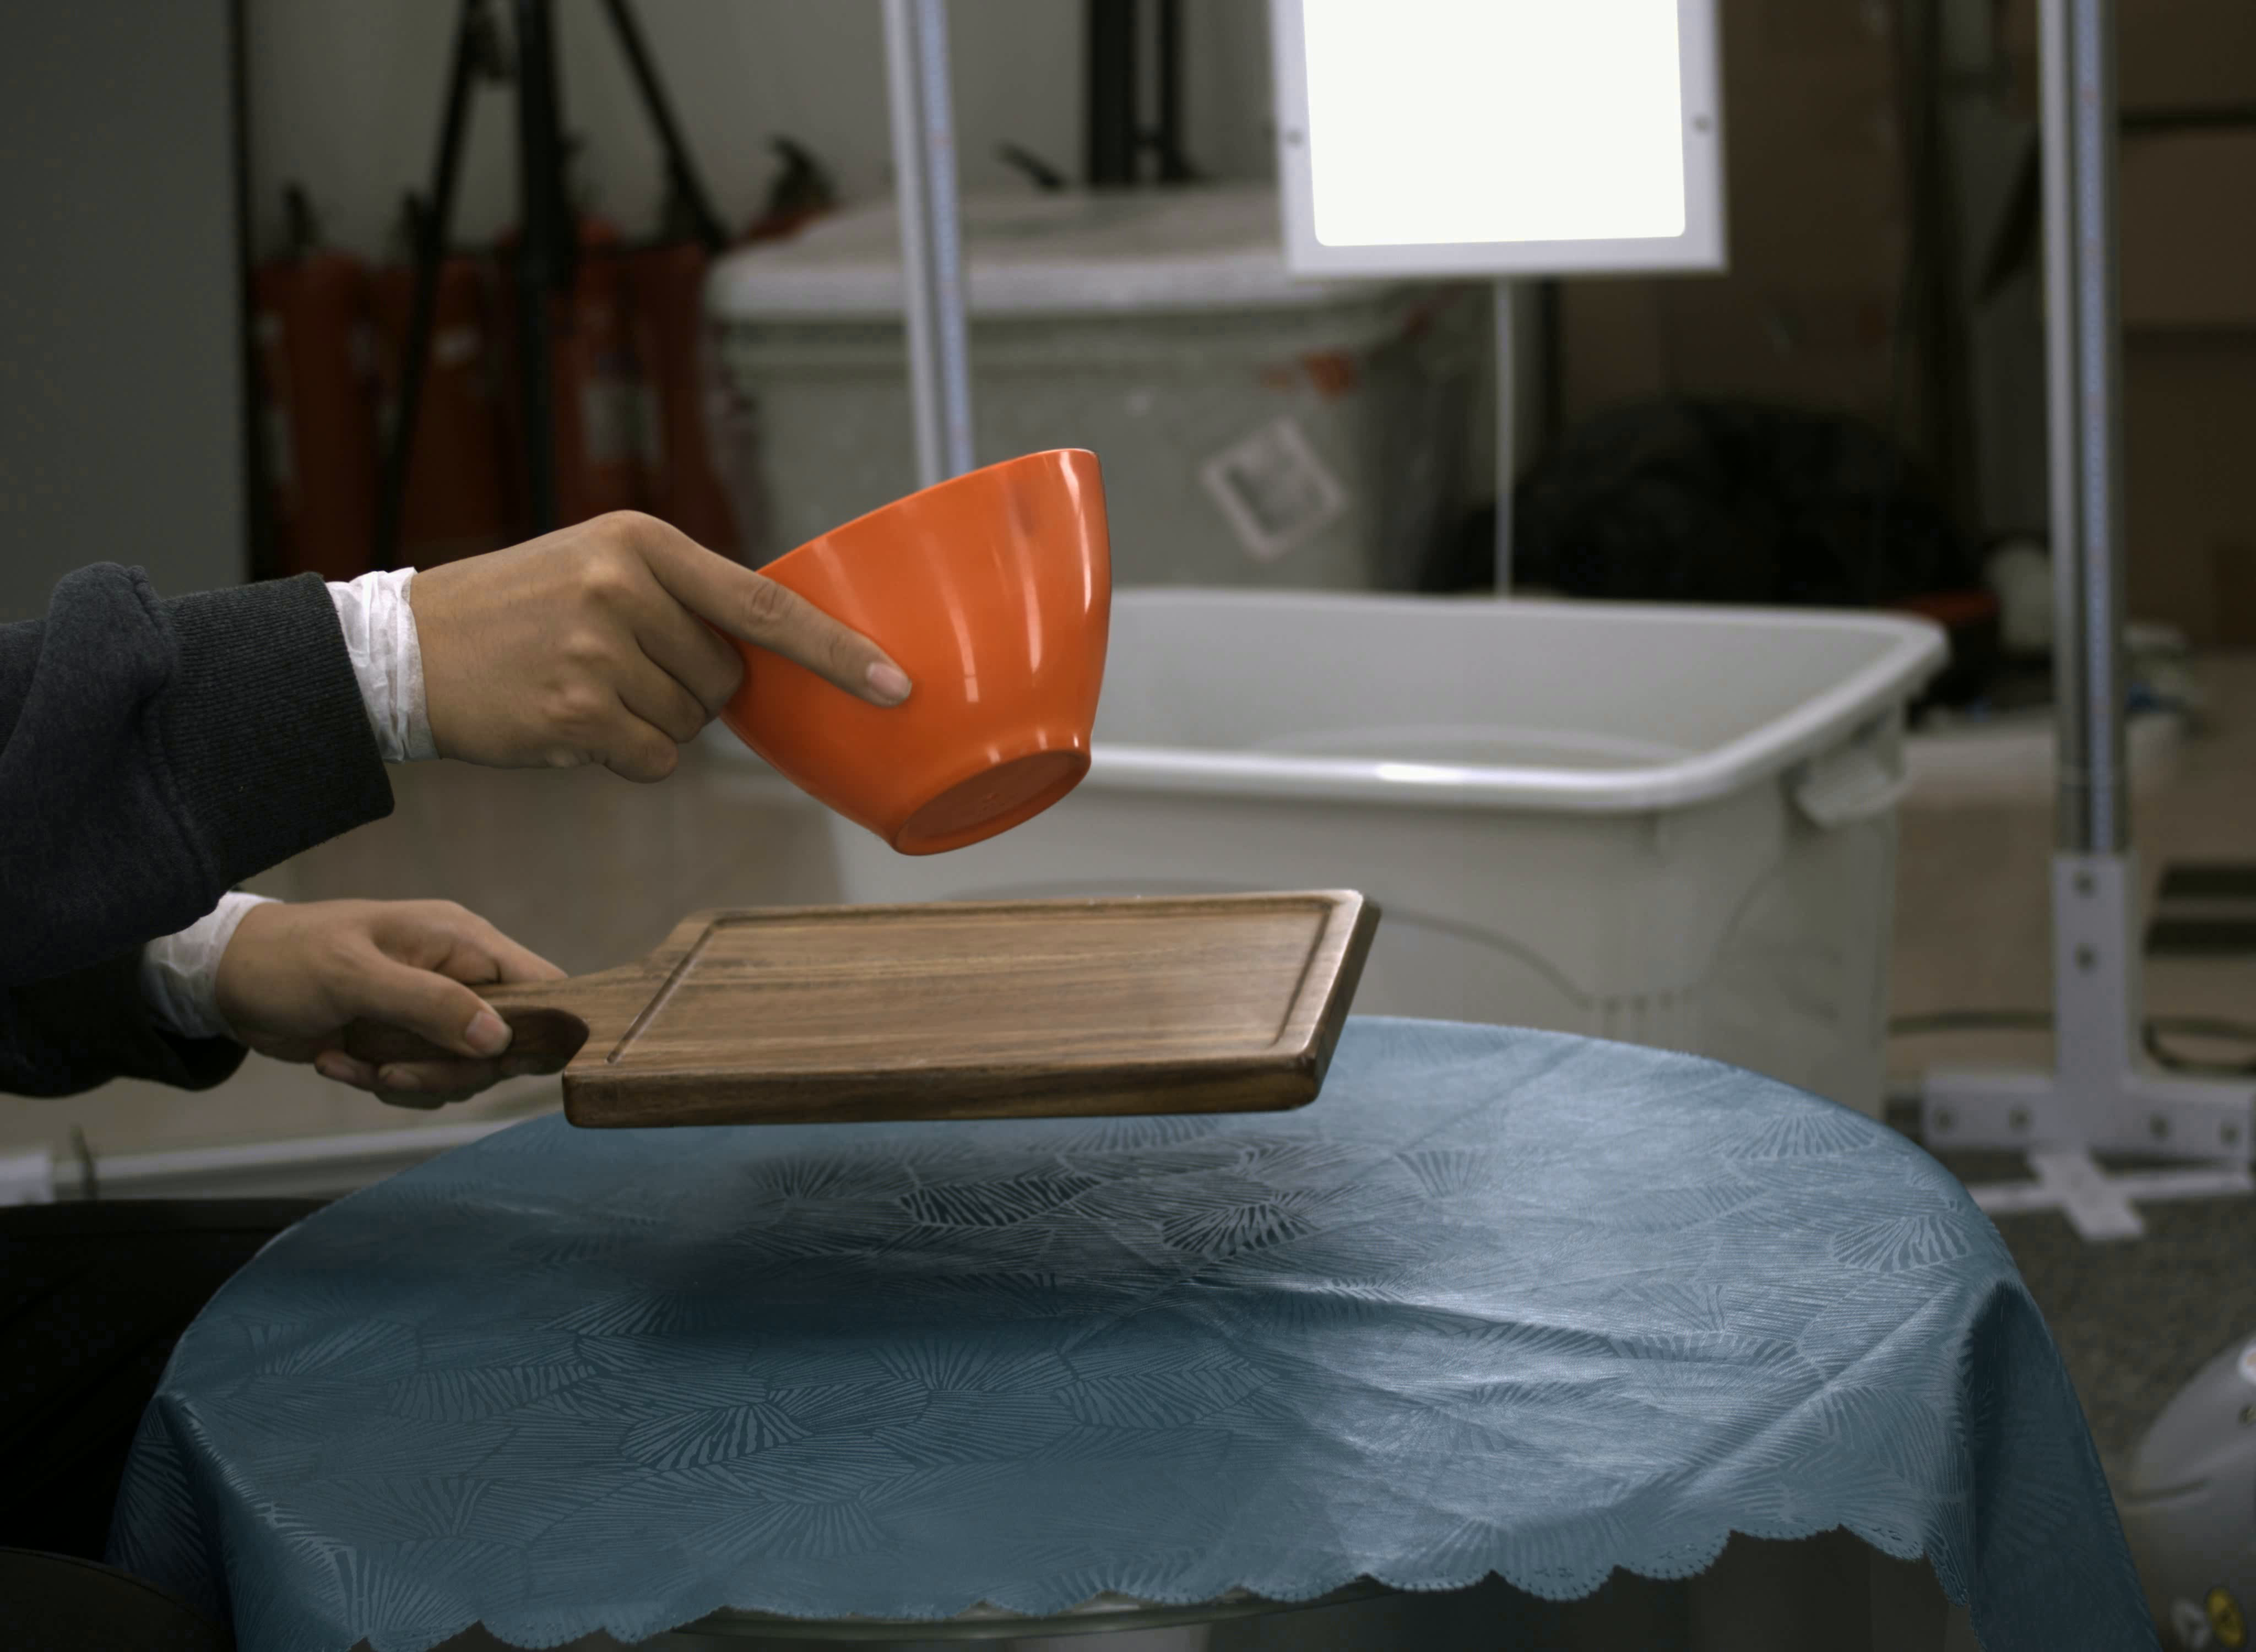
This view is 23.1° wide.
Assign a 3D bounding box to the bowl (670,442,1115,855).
[{"bbox_3d":[-0.059,-0.049,1.695,0.146,0.105,0.148,-21,-18,-9],"label":"bowl"}]

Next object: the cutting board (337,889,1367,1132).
[{"bbox_3d":[-0.099,0.063,1.881,0.354,0.023,0.199,-2,16,11],"label":"cutting board"}]
